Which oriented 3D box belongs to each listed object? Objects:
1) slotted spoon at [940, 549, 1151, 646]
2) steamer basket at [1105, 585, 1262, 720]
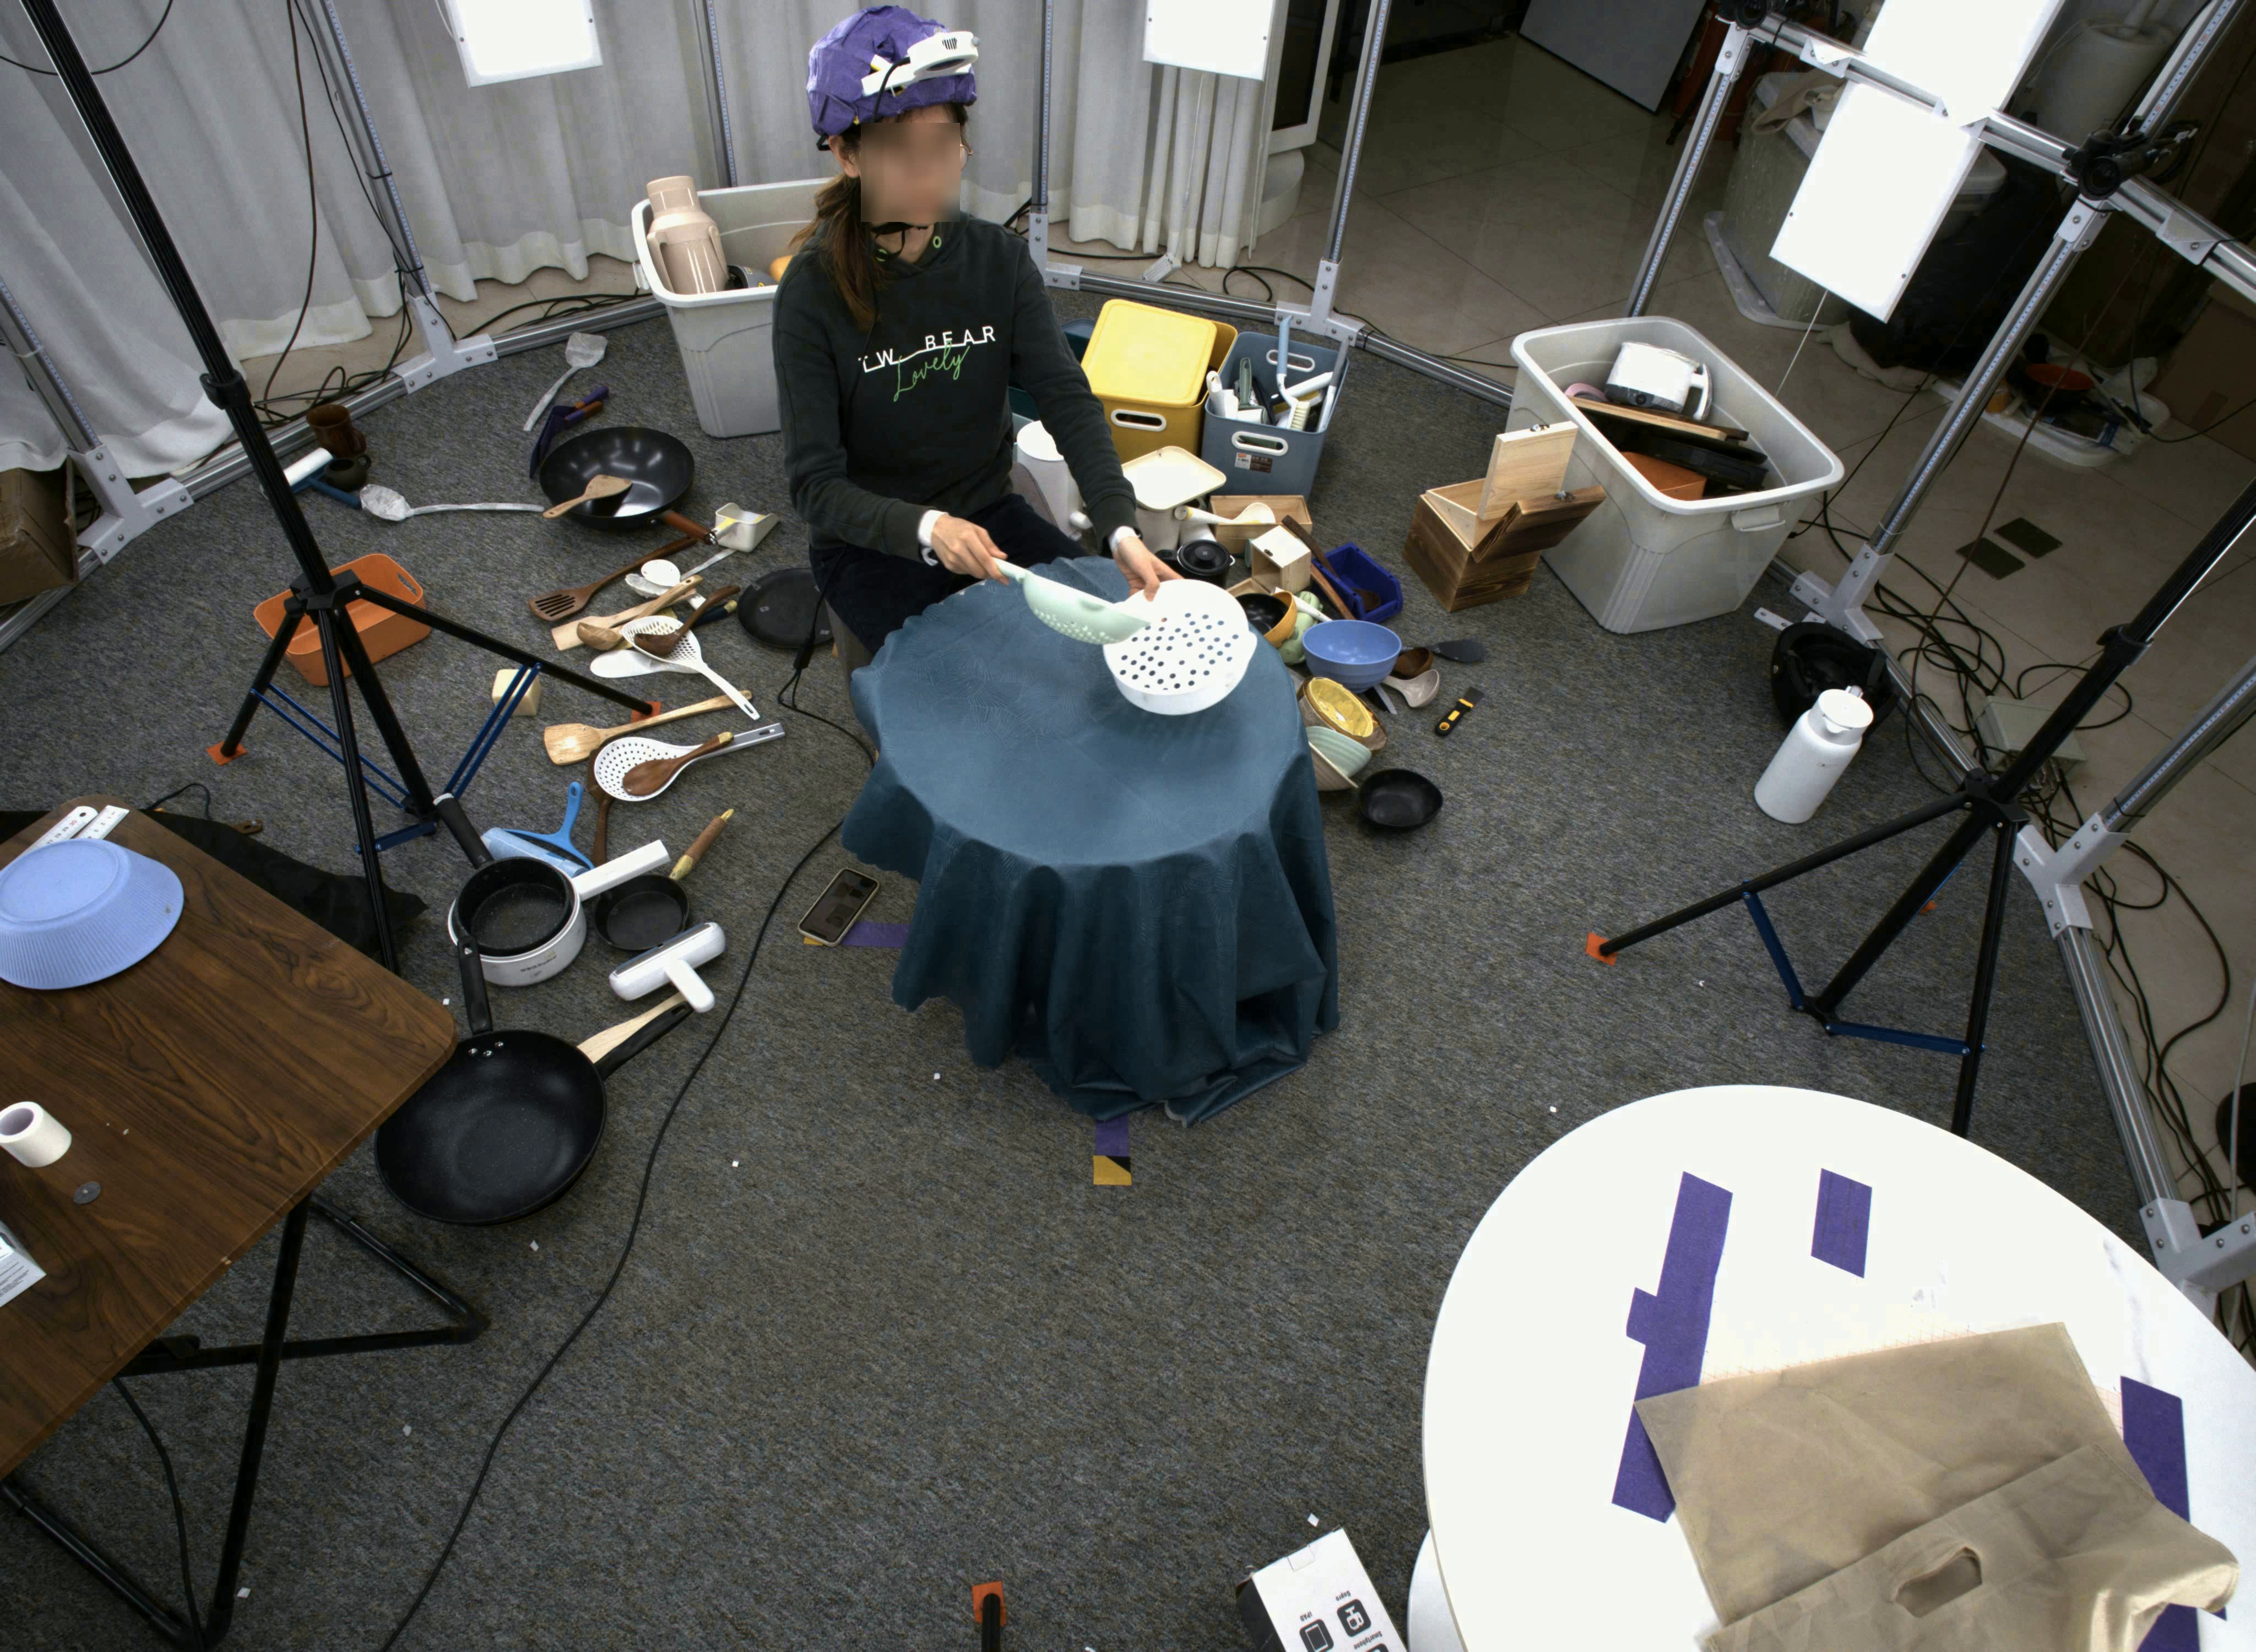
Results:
[{"bbox_3d":[-0.132,-0.323,1.736,0.365,0.075,0.168,37,15,35],"label":"slotted spoon"},{"bbox_3d":[0.077,-0.242,1.795,0.232,0.067,0.205,15,61,23],"label":"steamer basket"}]
